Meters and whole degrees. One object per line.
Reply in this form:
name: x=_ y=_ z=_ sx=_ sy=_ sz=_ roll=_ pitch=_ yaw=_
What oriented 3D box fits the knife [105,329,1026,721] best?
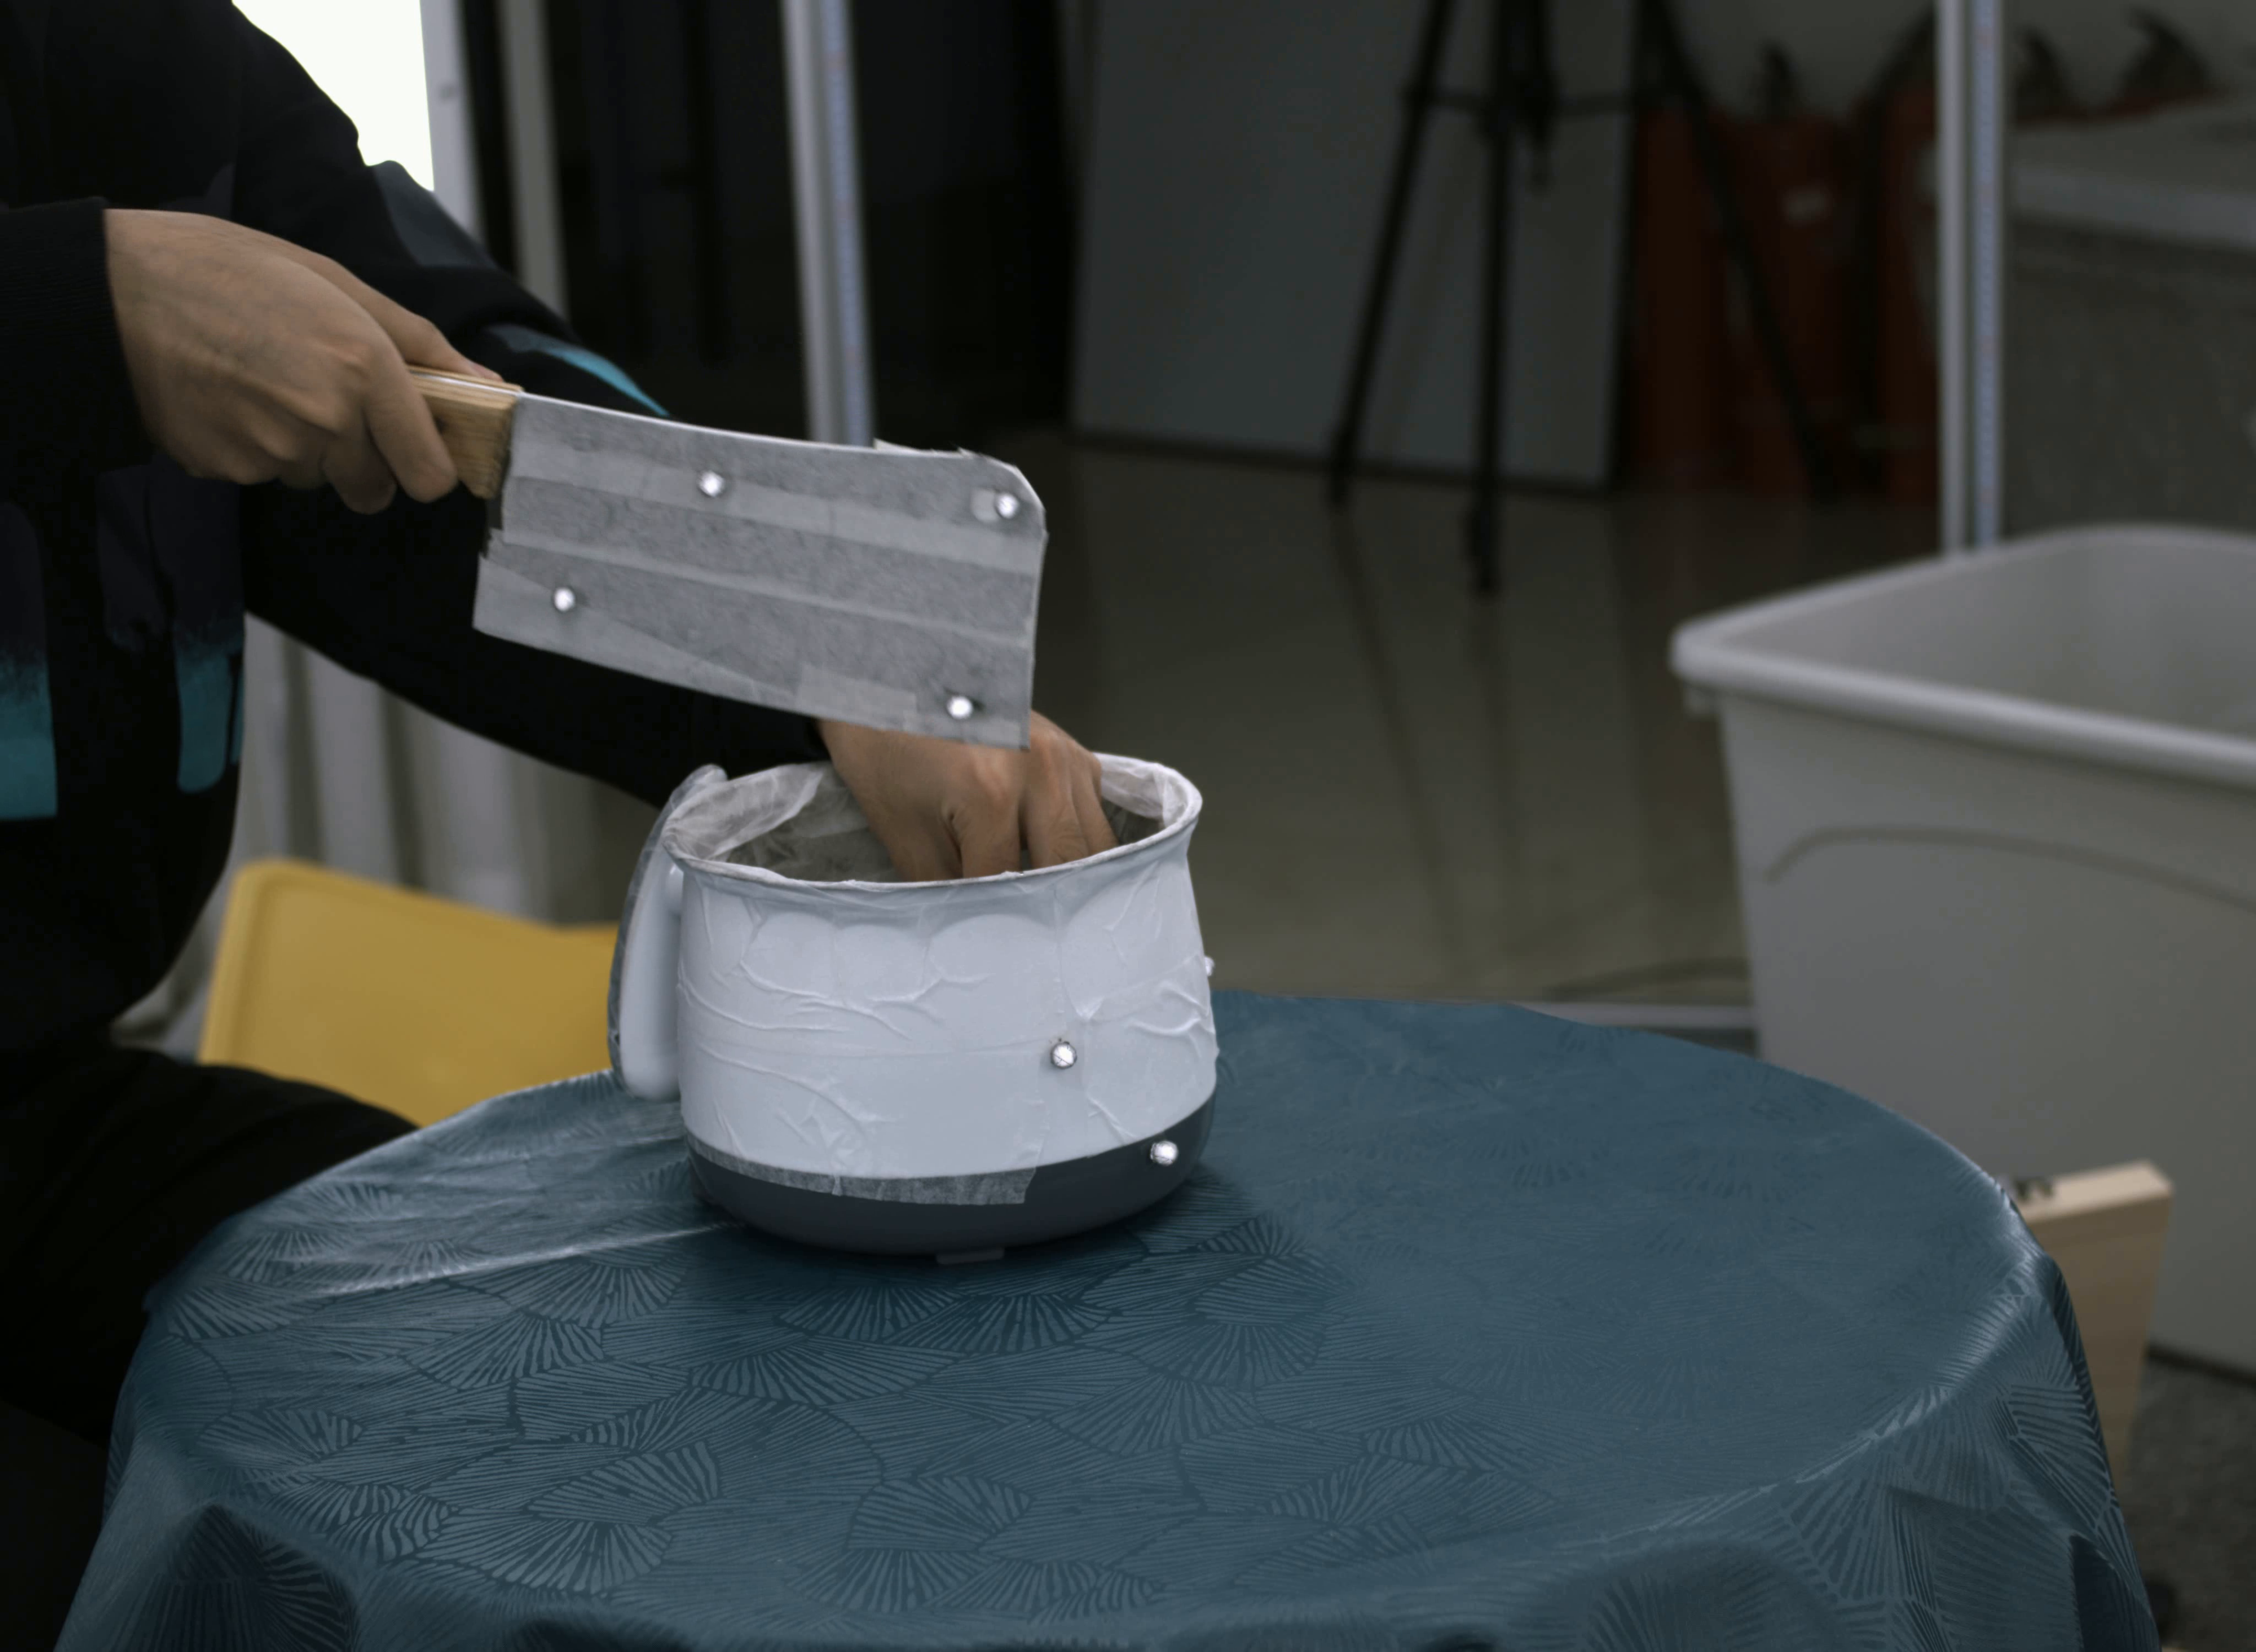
knife: x=-0.175 y=-0.107 z=1.724 sx=0.313 sy=0.115 sz=0.021 roll=15 pitch=26 yaw=6

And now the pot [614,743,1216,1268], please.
pot: x=-0.081 y=0.053 z=1.779 sx=0.235 sy=0.138 sz=0.175 roll=8 pitch=17 yaw=38
